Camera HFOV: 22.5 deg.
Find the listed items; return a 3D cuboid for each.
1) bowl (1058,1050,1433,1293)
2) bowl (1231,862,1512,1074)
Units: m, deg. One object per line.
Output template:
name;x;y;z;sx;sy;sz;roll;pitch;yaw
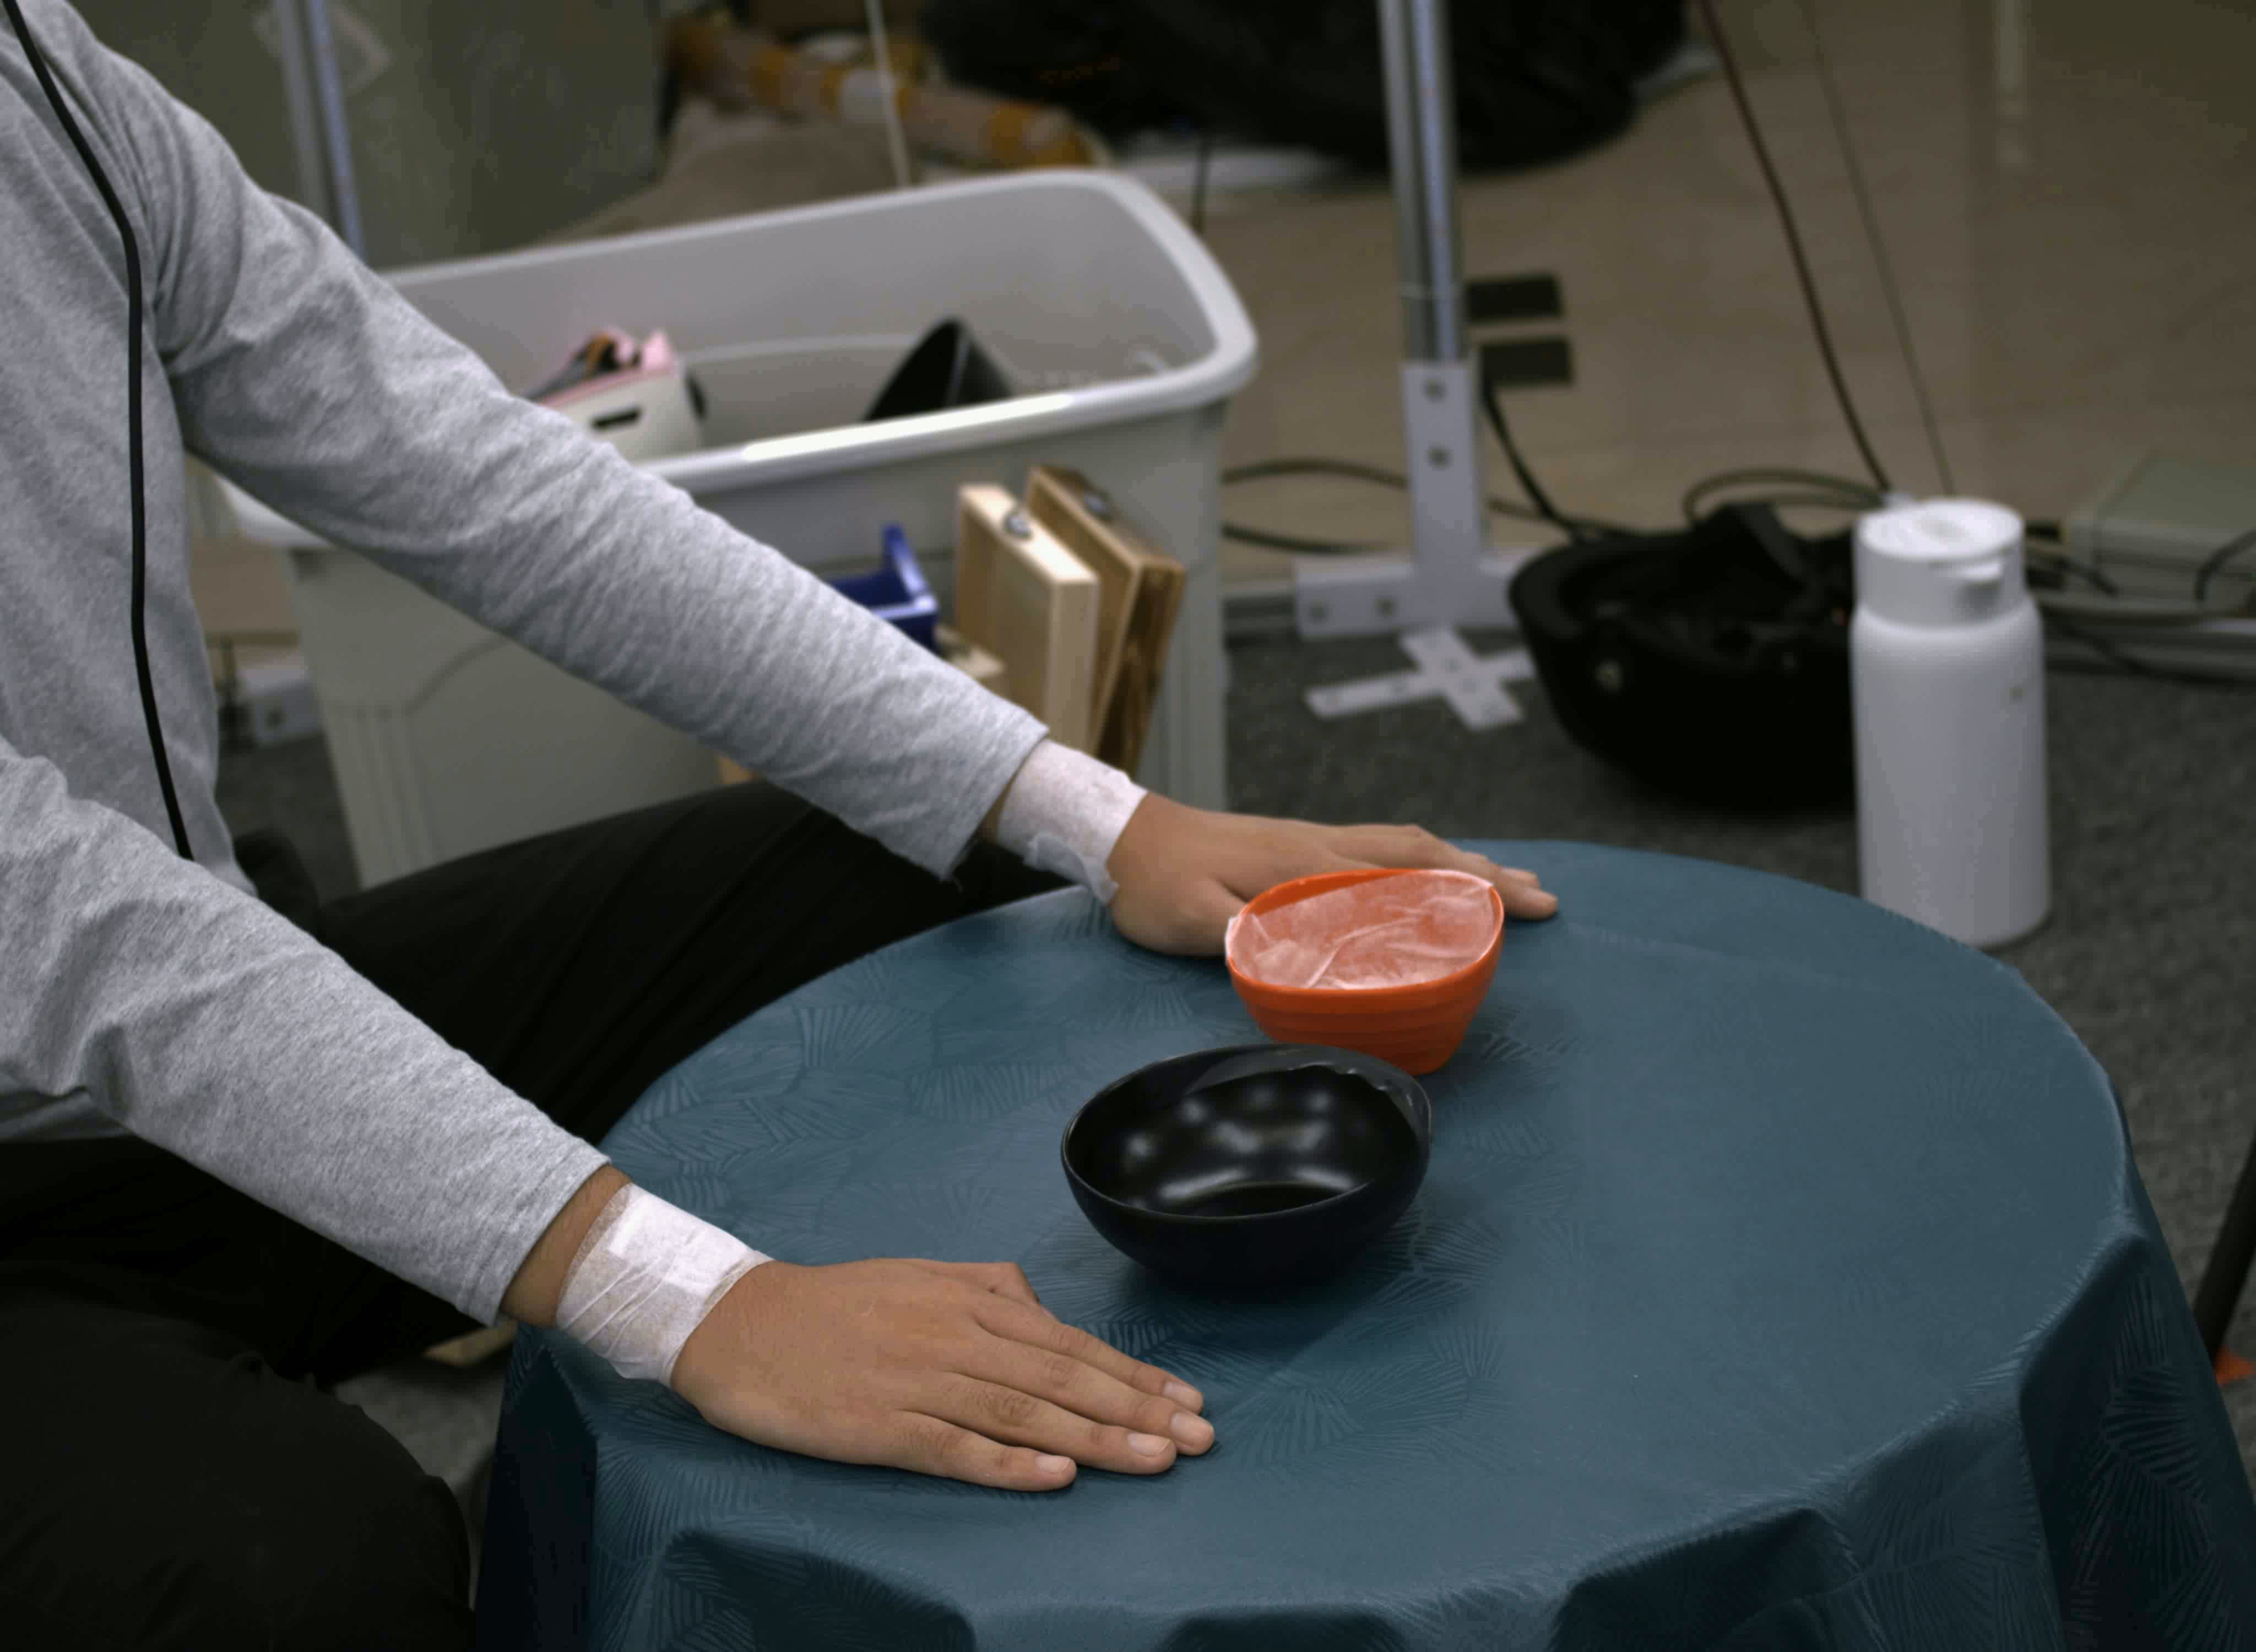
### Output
bowl;0.046;0.135;2.095;0.140;0.050;0.138;-8;23;3
bowl;0.097;0.060;2.234;0.119;0.052;0.117;-4;26;2
